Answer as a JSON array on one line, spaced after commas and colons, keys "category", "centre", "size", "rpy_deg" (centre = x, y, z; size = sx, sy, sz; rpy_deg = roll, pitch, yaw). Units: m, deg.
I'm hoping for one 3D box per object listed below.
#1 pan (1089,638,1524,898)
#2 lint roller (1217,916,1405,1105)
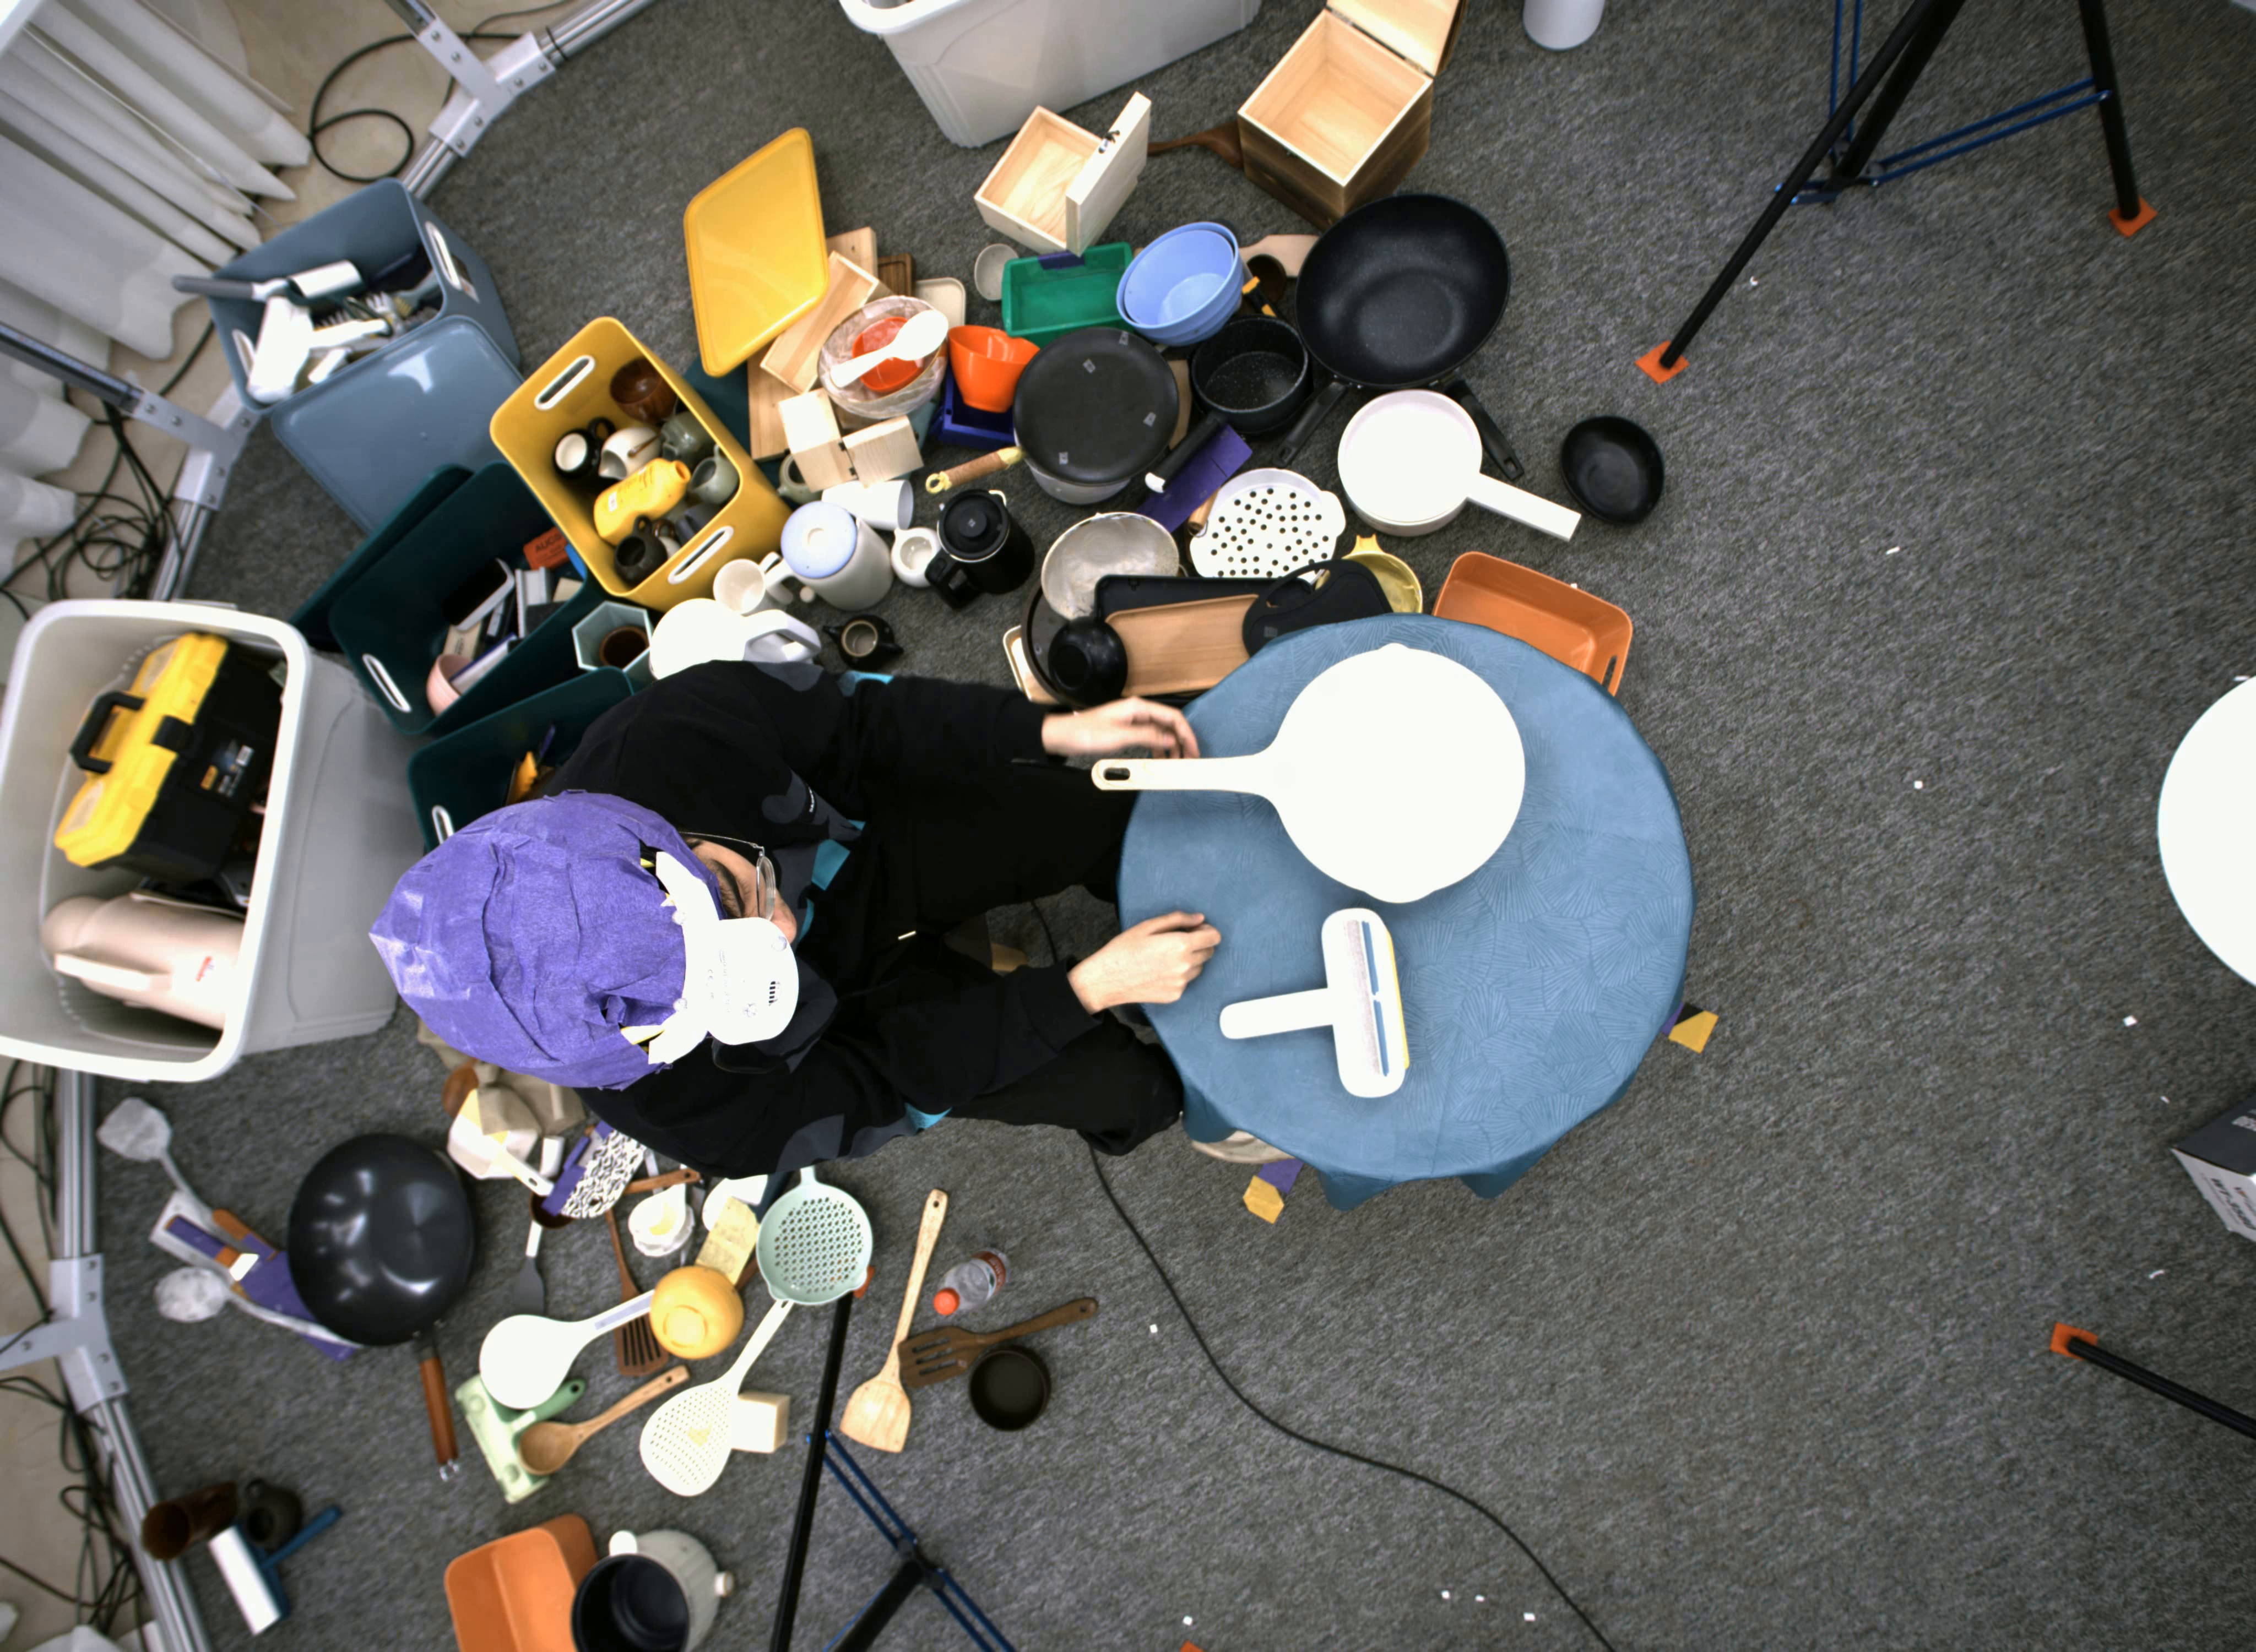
[{"category": "pan", "centre": [0.183, -0.056, 1.427], "size": [0.436, 0.102, 0.263], "rpy_deg": [-2, 89, 10]}, {"category": "lint roller", "centre": [0.185, 0.192, 1.431], "size": [0.193, 0.074, 0.191], "rpy_deg": [-5, 80, 12]}]
